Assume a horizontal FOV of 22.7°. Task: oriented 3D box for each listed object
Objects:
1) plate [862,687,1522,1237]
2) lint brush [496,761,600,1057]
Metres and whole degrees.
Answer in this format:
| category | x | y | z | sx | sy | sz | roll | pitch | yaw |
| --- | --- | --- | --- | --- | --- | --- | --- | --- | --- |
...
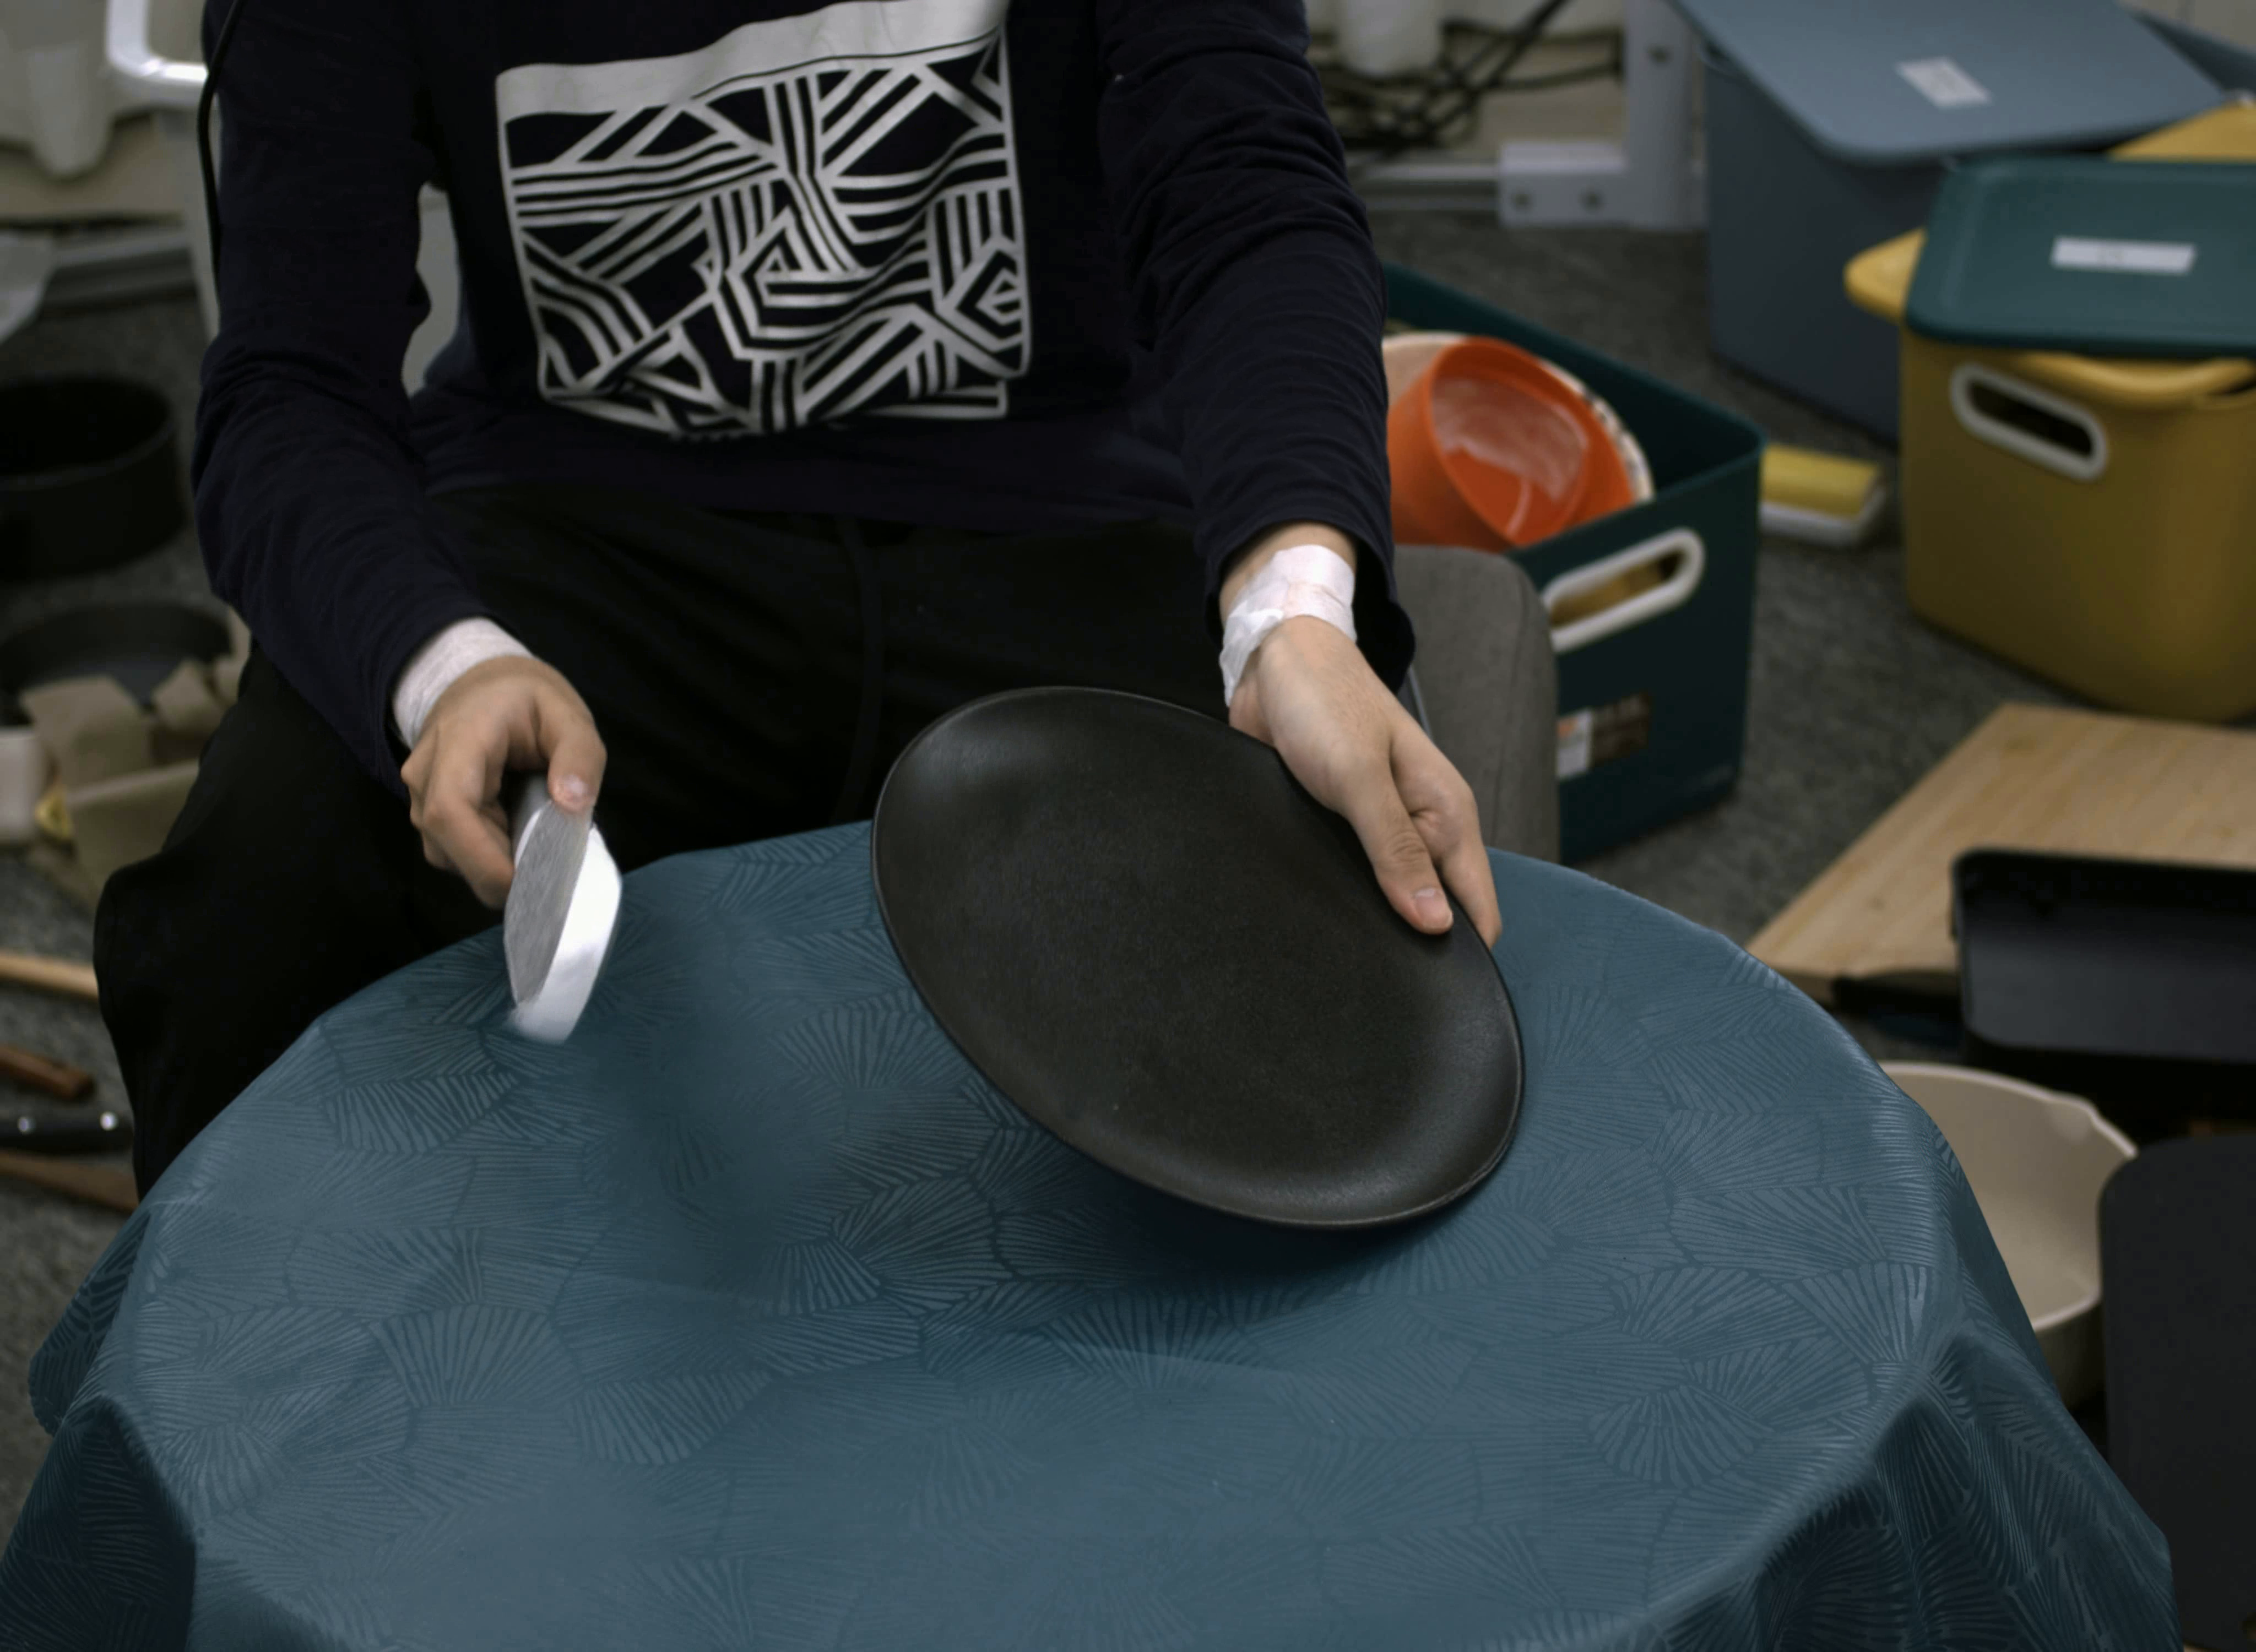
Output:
| category | x | y | z | sx | sy | sz | roll | pitch | yaw |
| --- | --- | --- | --- | --- | --- | --- | --- | --- | --- |
| plate | 0.019 | 0.048 | 1.881 | 0.243 | 0.023 | 0.249 | 19 | 39 | -15 |
| lint brush | -0.197 | 0.018 | 1.882 | 0.021 | 0.060 | 0.310 | 16 | 9 | -11 |
